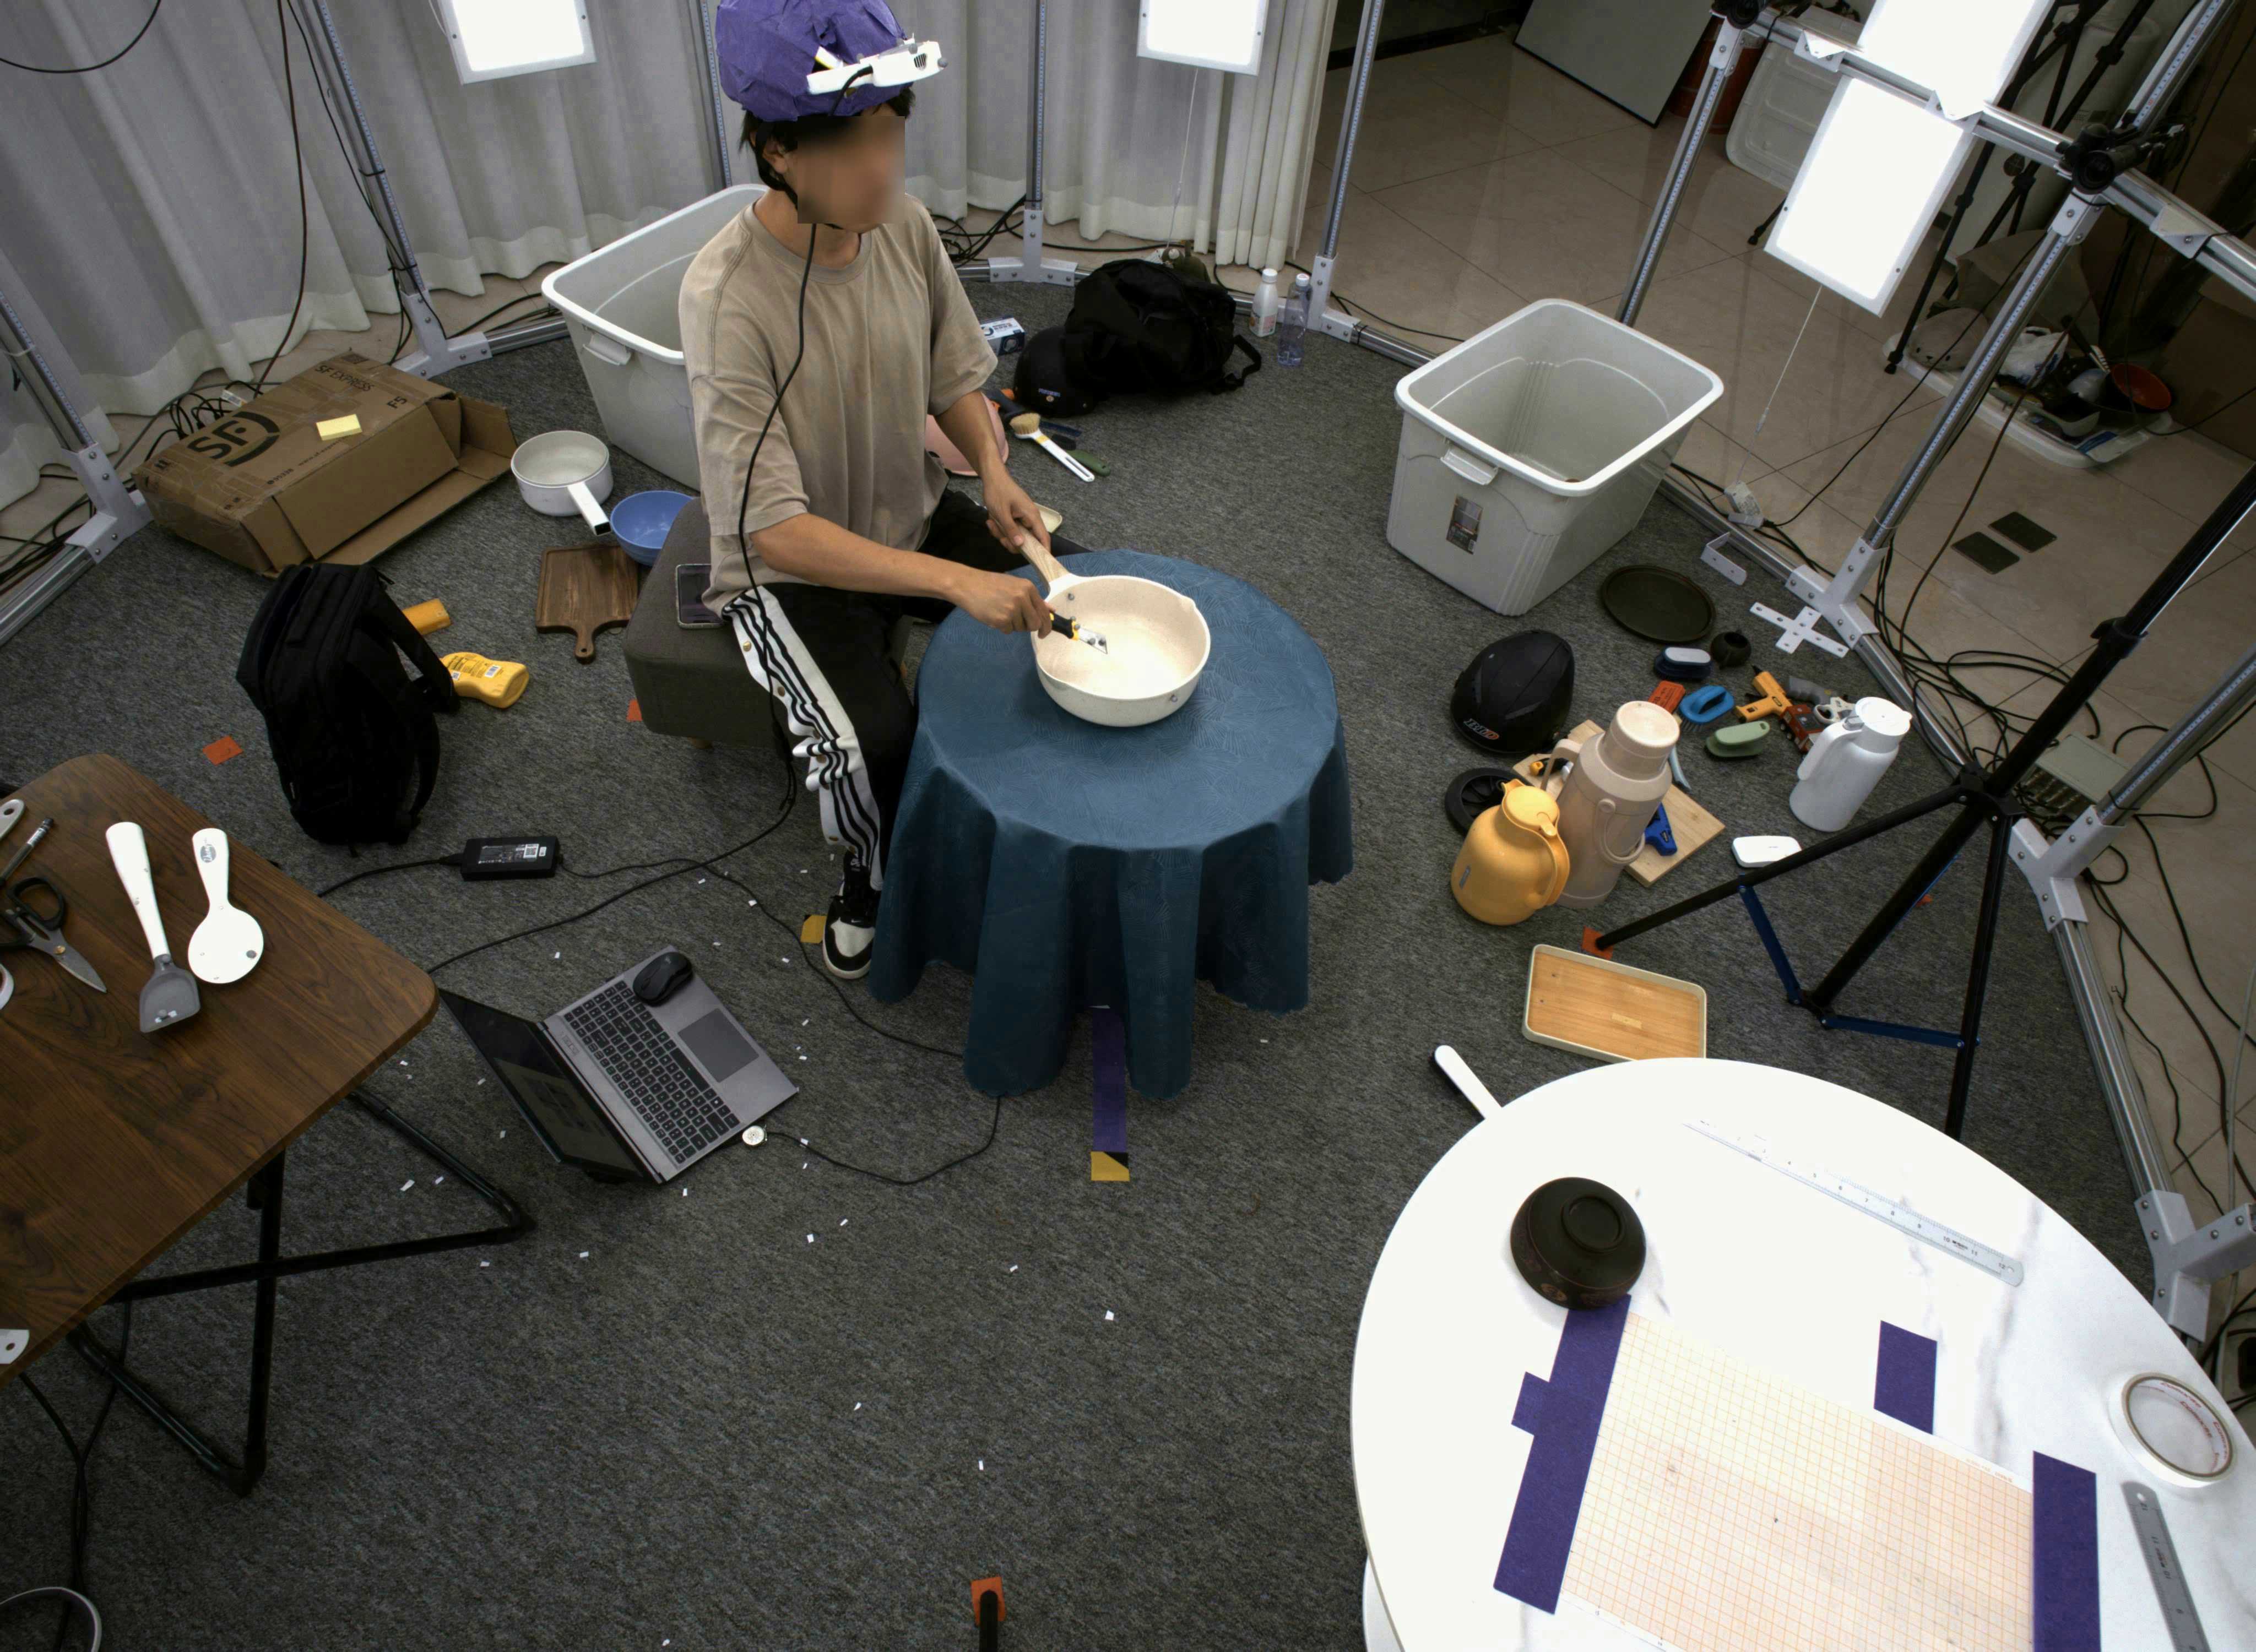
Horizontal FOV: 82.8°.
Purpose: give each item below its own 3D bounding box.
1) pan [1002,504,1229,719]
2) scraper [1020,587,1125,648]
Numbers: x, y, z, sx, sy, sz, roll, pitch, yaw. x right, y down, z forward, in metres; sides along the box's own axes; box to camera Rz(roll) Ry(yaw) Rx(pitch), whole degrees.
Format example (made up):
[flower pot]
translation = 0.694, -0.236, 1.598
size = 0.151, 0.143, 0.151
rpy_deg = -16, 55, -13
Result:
[pan]
translation = -0.044, -0.315, 1.863
size = 0.265, 0.099, 0.442
rpy_deg = -30, 57, -25
[scraper]
translation = -0.073, -0.283, 1.736
size = 0.169, 0.015, 0.039
rpy_deg = 18, 54, -33
